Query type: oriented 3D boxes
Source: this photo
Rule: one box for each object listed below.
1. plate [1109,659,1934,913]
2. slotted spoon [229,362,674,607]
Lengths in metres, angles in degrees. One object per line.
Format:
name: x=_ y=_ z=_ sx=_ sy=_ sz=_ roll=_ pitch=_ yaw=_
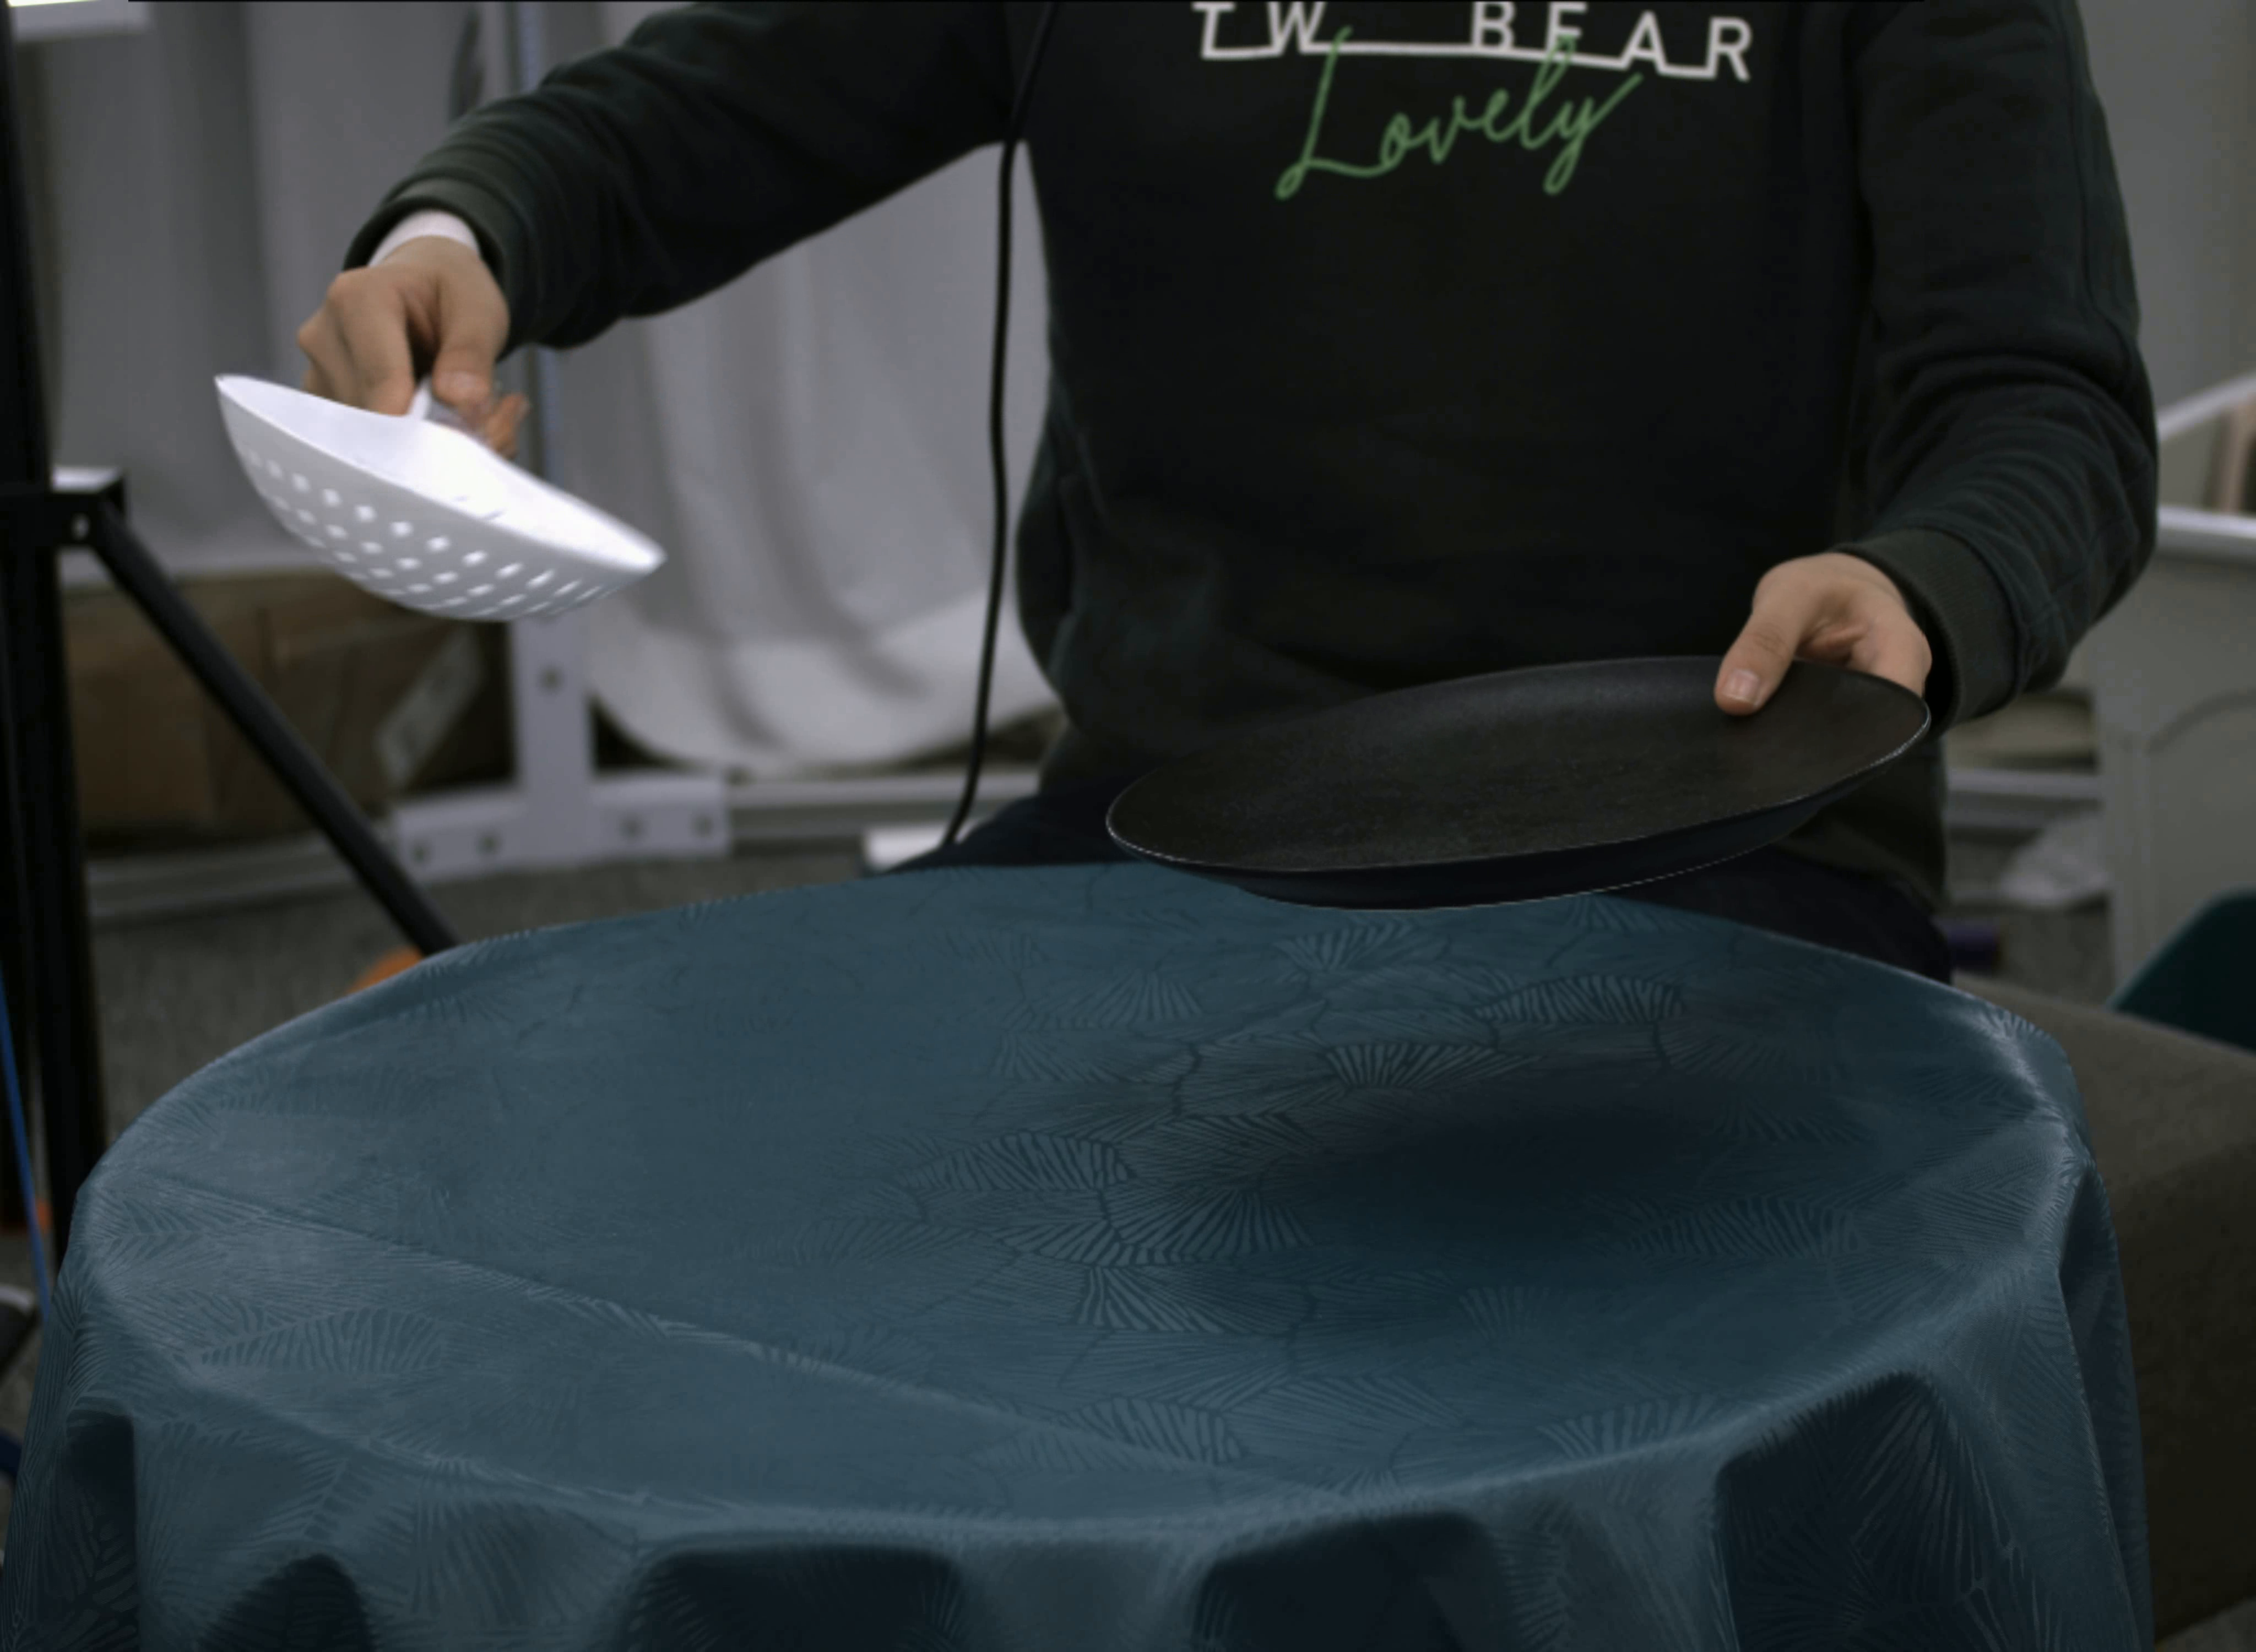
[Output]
plate: x=0.116 y=-0.010 z=1.561 sx=0.243 sy=0.023 sz=0.245 roll=-9 pitch=13 yaw=1
slotted spoon: x=-0.206 y=-0.117 z=1.640 sx=0.134 sy=0.046 sz=0.352 roll=21 pitch=12 yaw=-8
